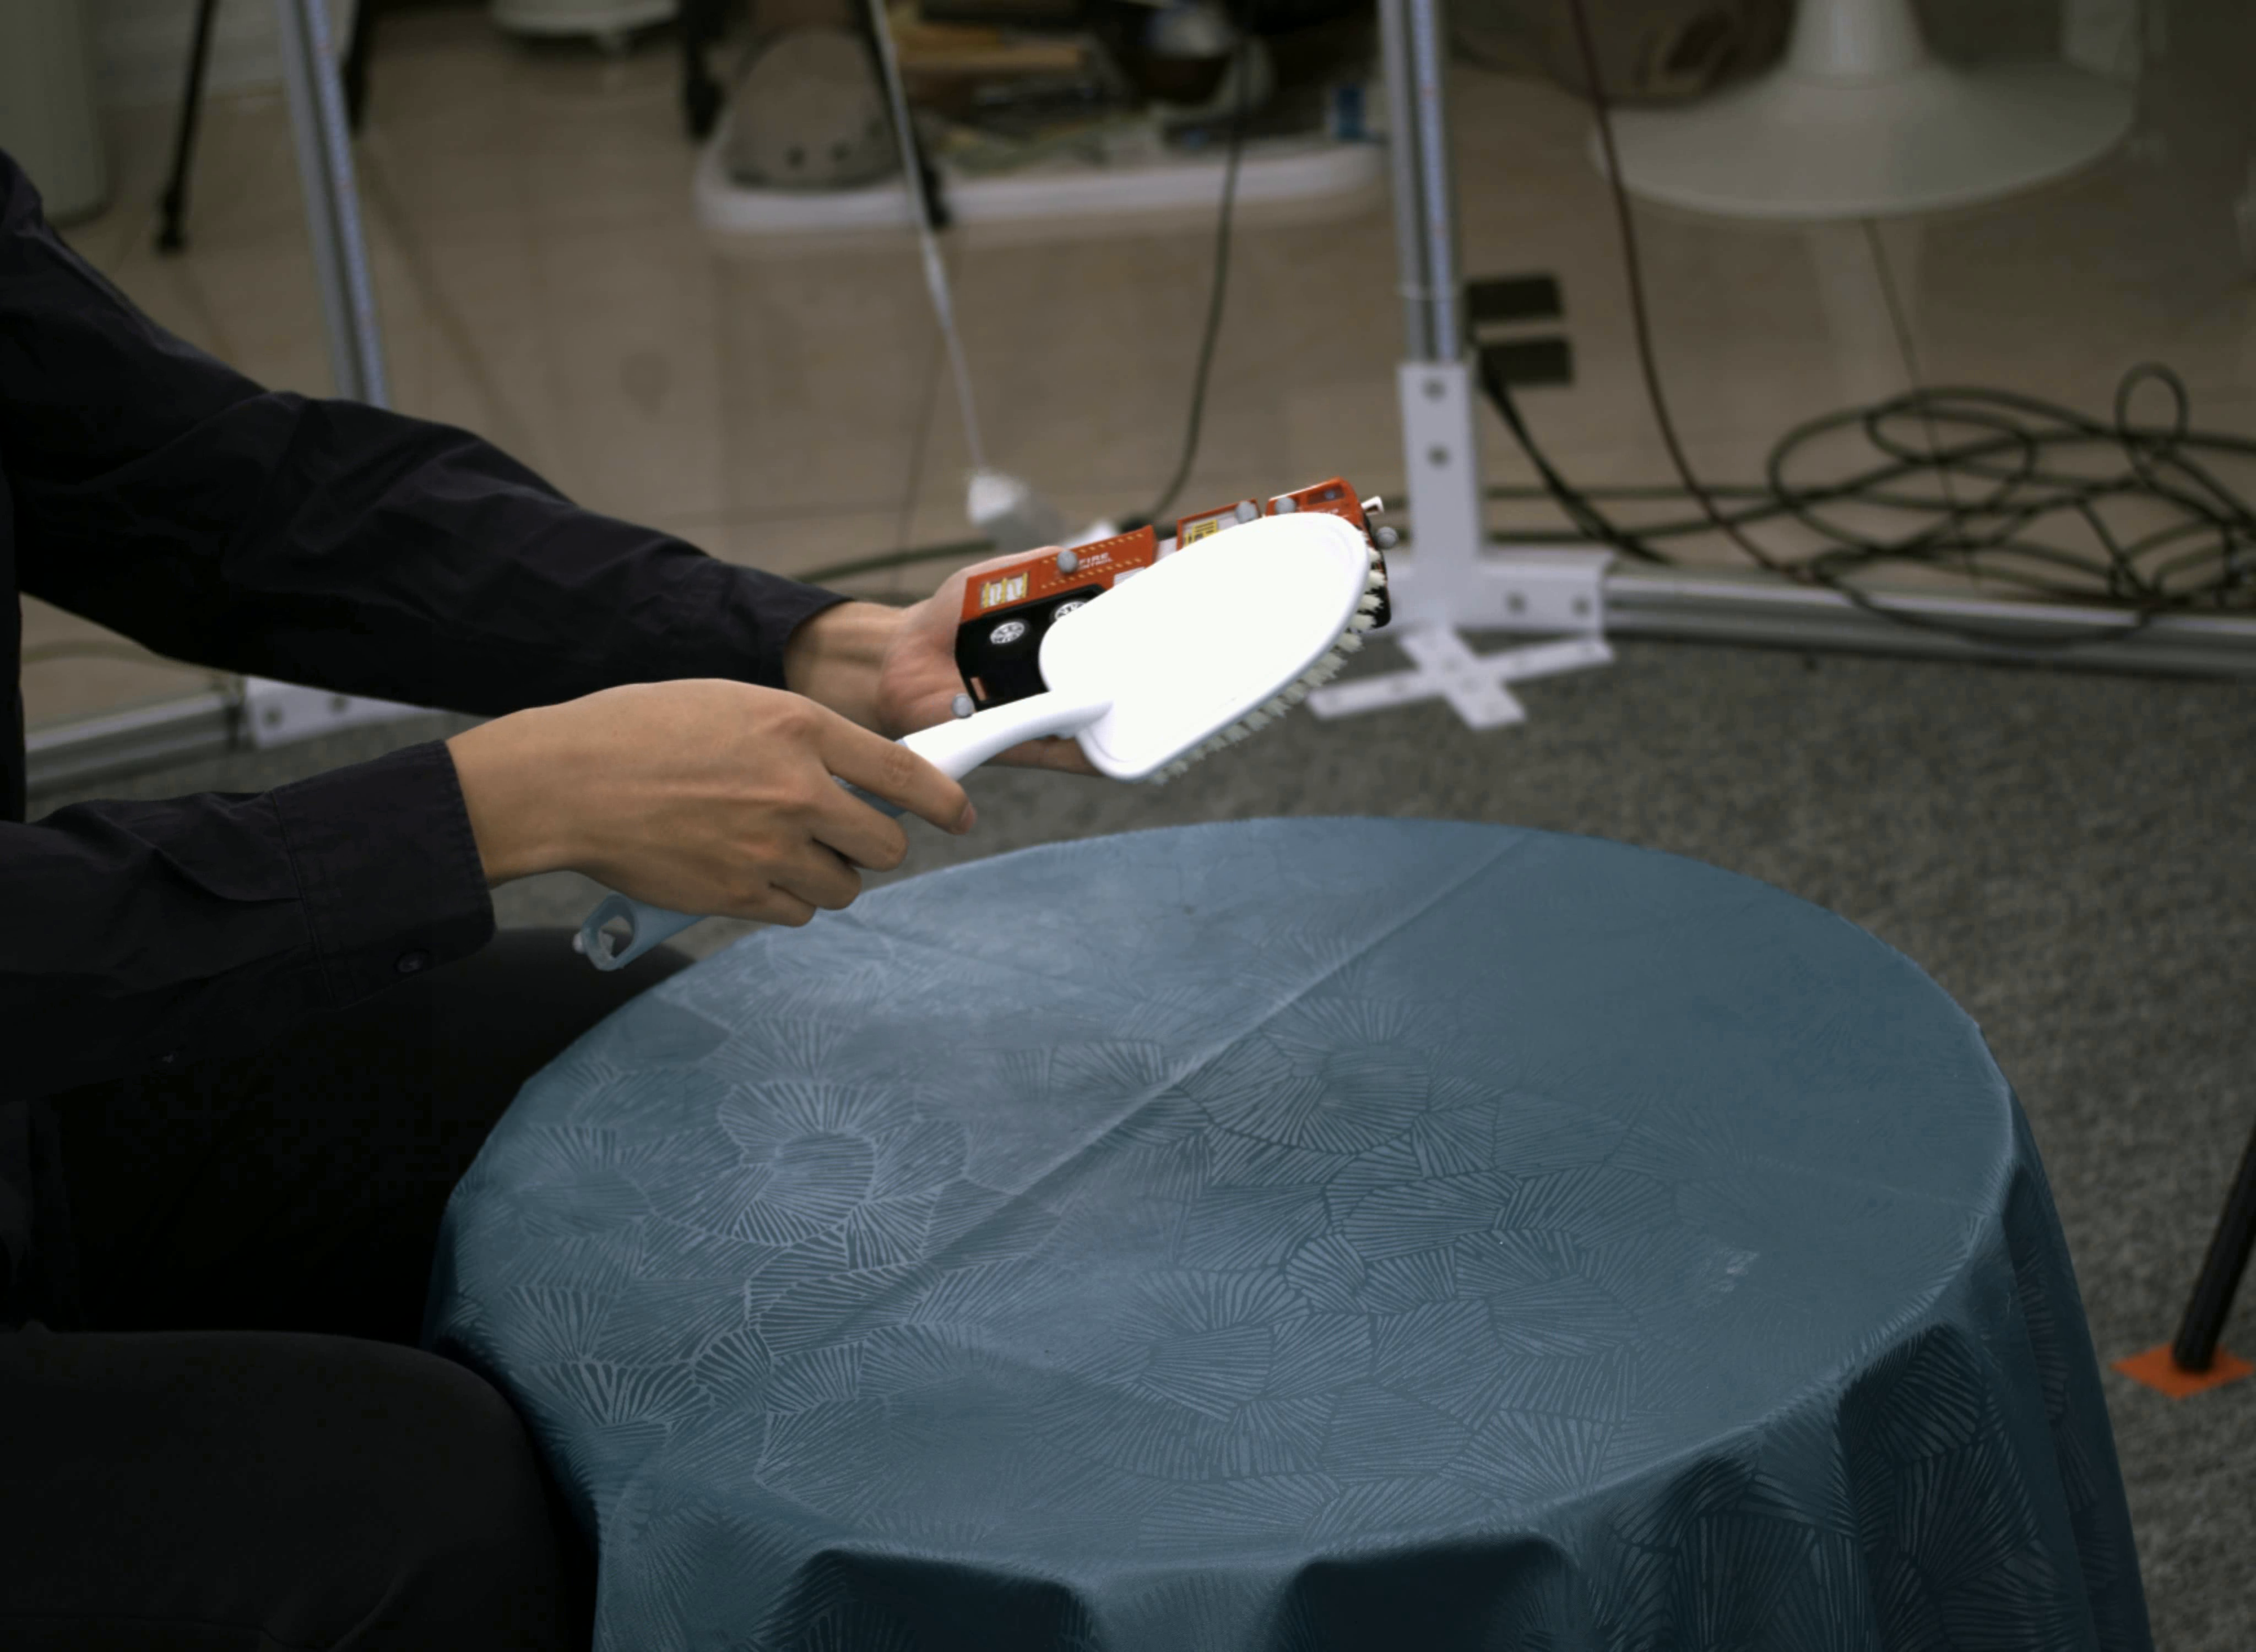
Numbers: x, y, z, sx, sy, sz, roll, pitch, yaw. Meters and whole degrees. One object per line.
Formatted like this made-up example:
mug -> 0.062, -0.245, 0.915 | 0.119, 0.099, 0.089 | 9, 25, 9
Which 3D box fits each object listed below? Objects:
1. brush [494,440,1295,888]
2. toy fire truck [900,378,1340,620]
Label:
brush -> -0.087, -0.057, 2.091 | 0.325, 0.086, 0.082 | -28, 44, -4
toy fire truck -> -0.001, -0.124, 2.147 | 0.168, 0.055, 0.069 | -14, 36, 11
